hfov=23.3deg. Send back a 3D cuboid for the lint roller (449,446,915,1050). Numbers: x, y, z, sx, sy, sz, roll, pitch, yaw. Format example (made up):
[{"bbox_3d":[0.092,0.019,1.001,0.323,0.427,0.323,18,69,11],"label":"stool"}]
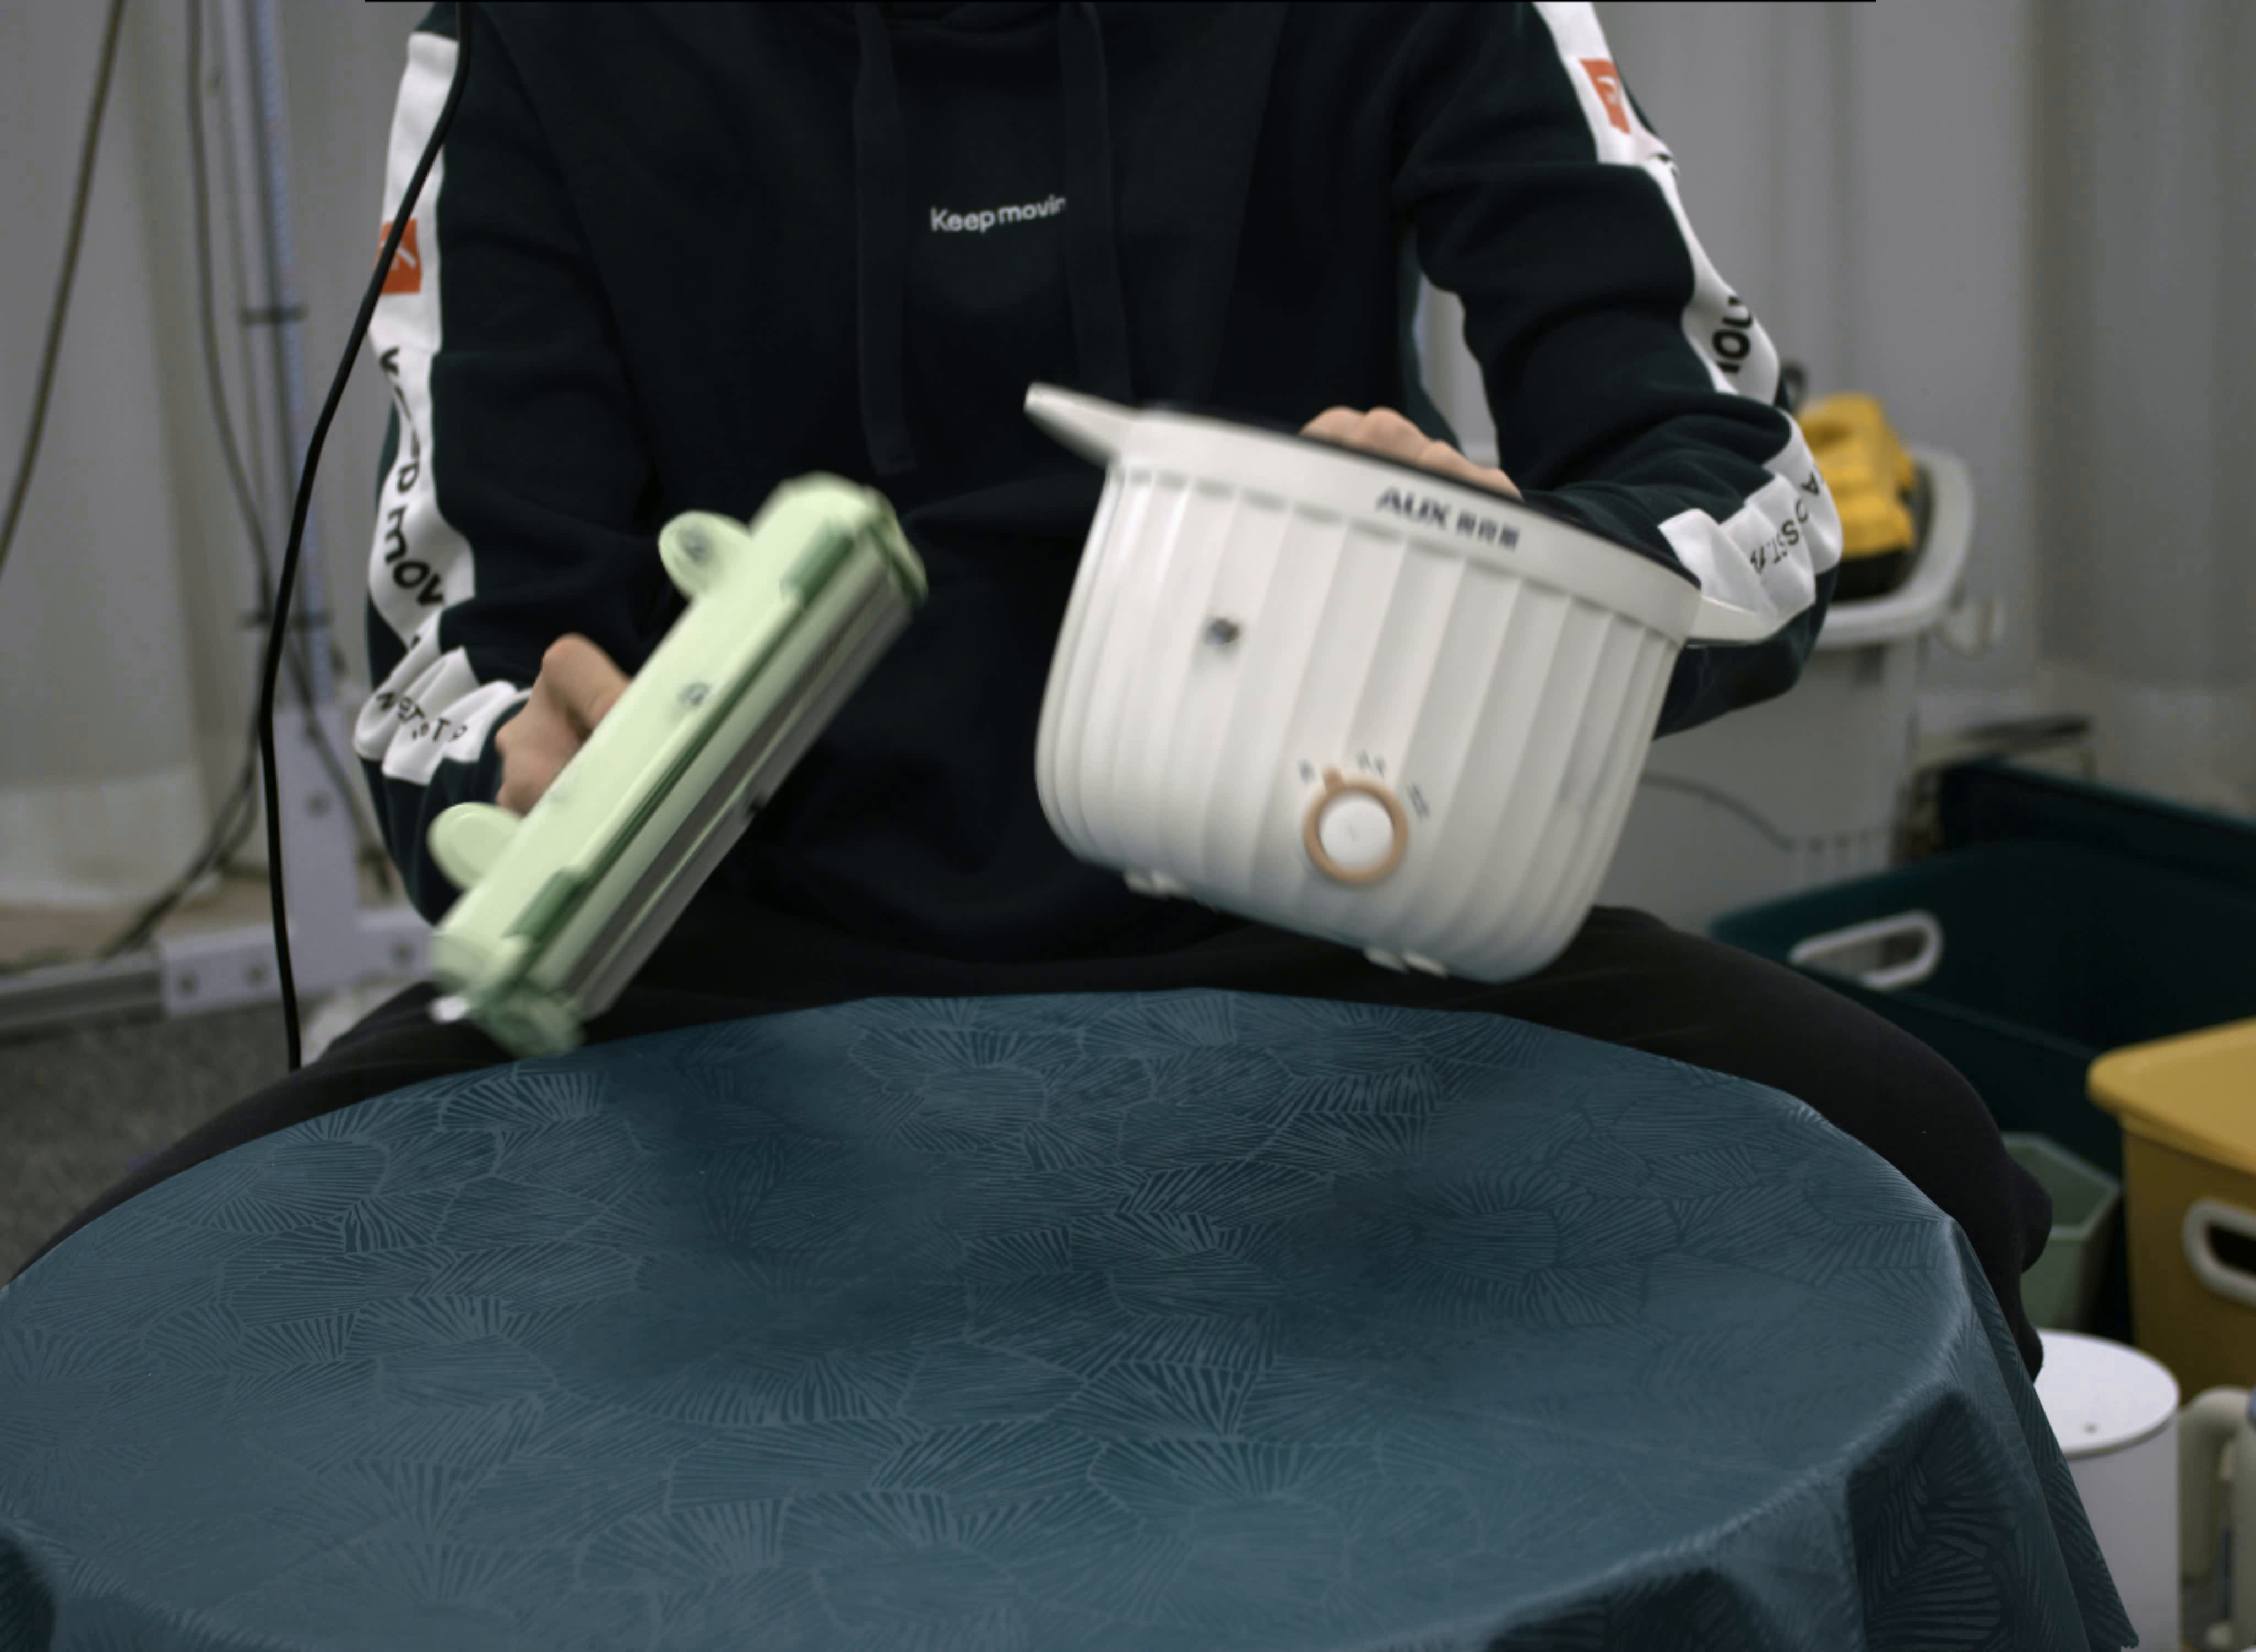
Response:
[{"bbox_3d":[-0.158,-0.023,1.720,0.081,0.200,0.183,36,-17,-14],"label":"lint roller"}]

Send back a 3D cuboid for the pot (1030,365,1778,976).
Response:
[{"bbox_3d":[0.066,-0.038,1.635,0.239,0.143,0.190,18,-7,-5],"label":"pot"}]
